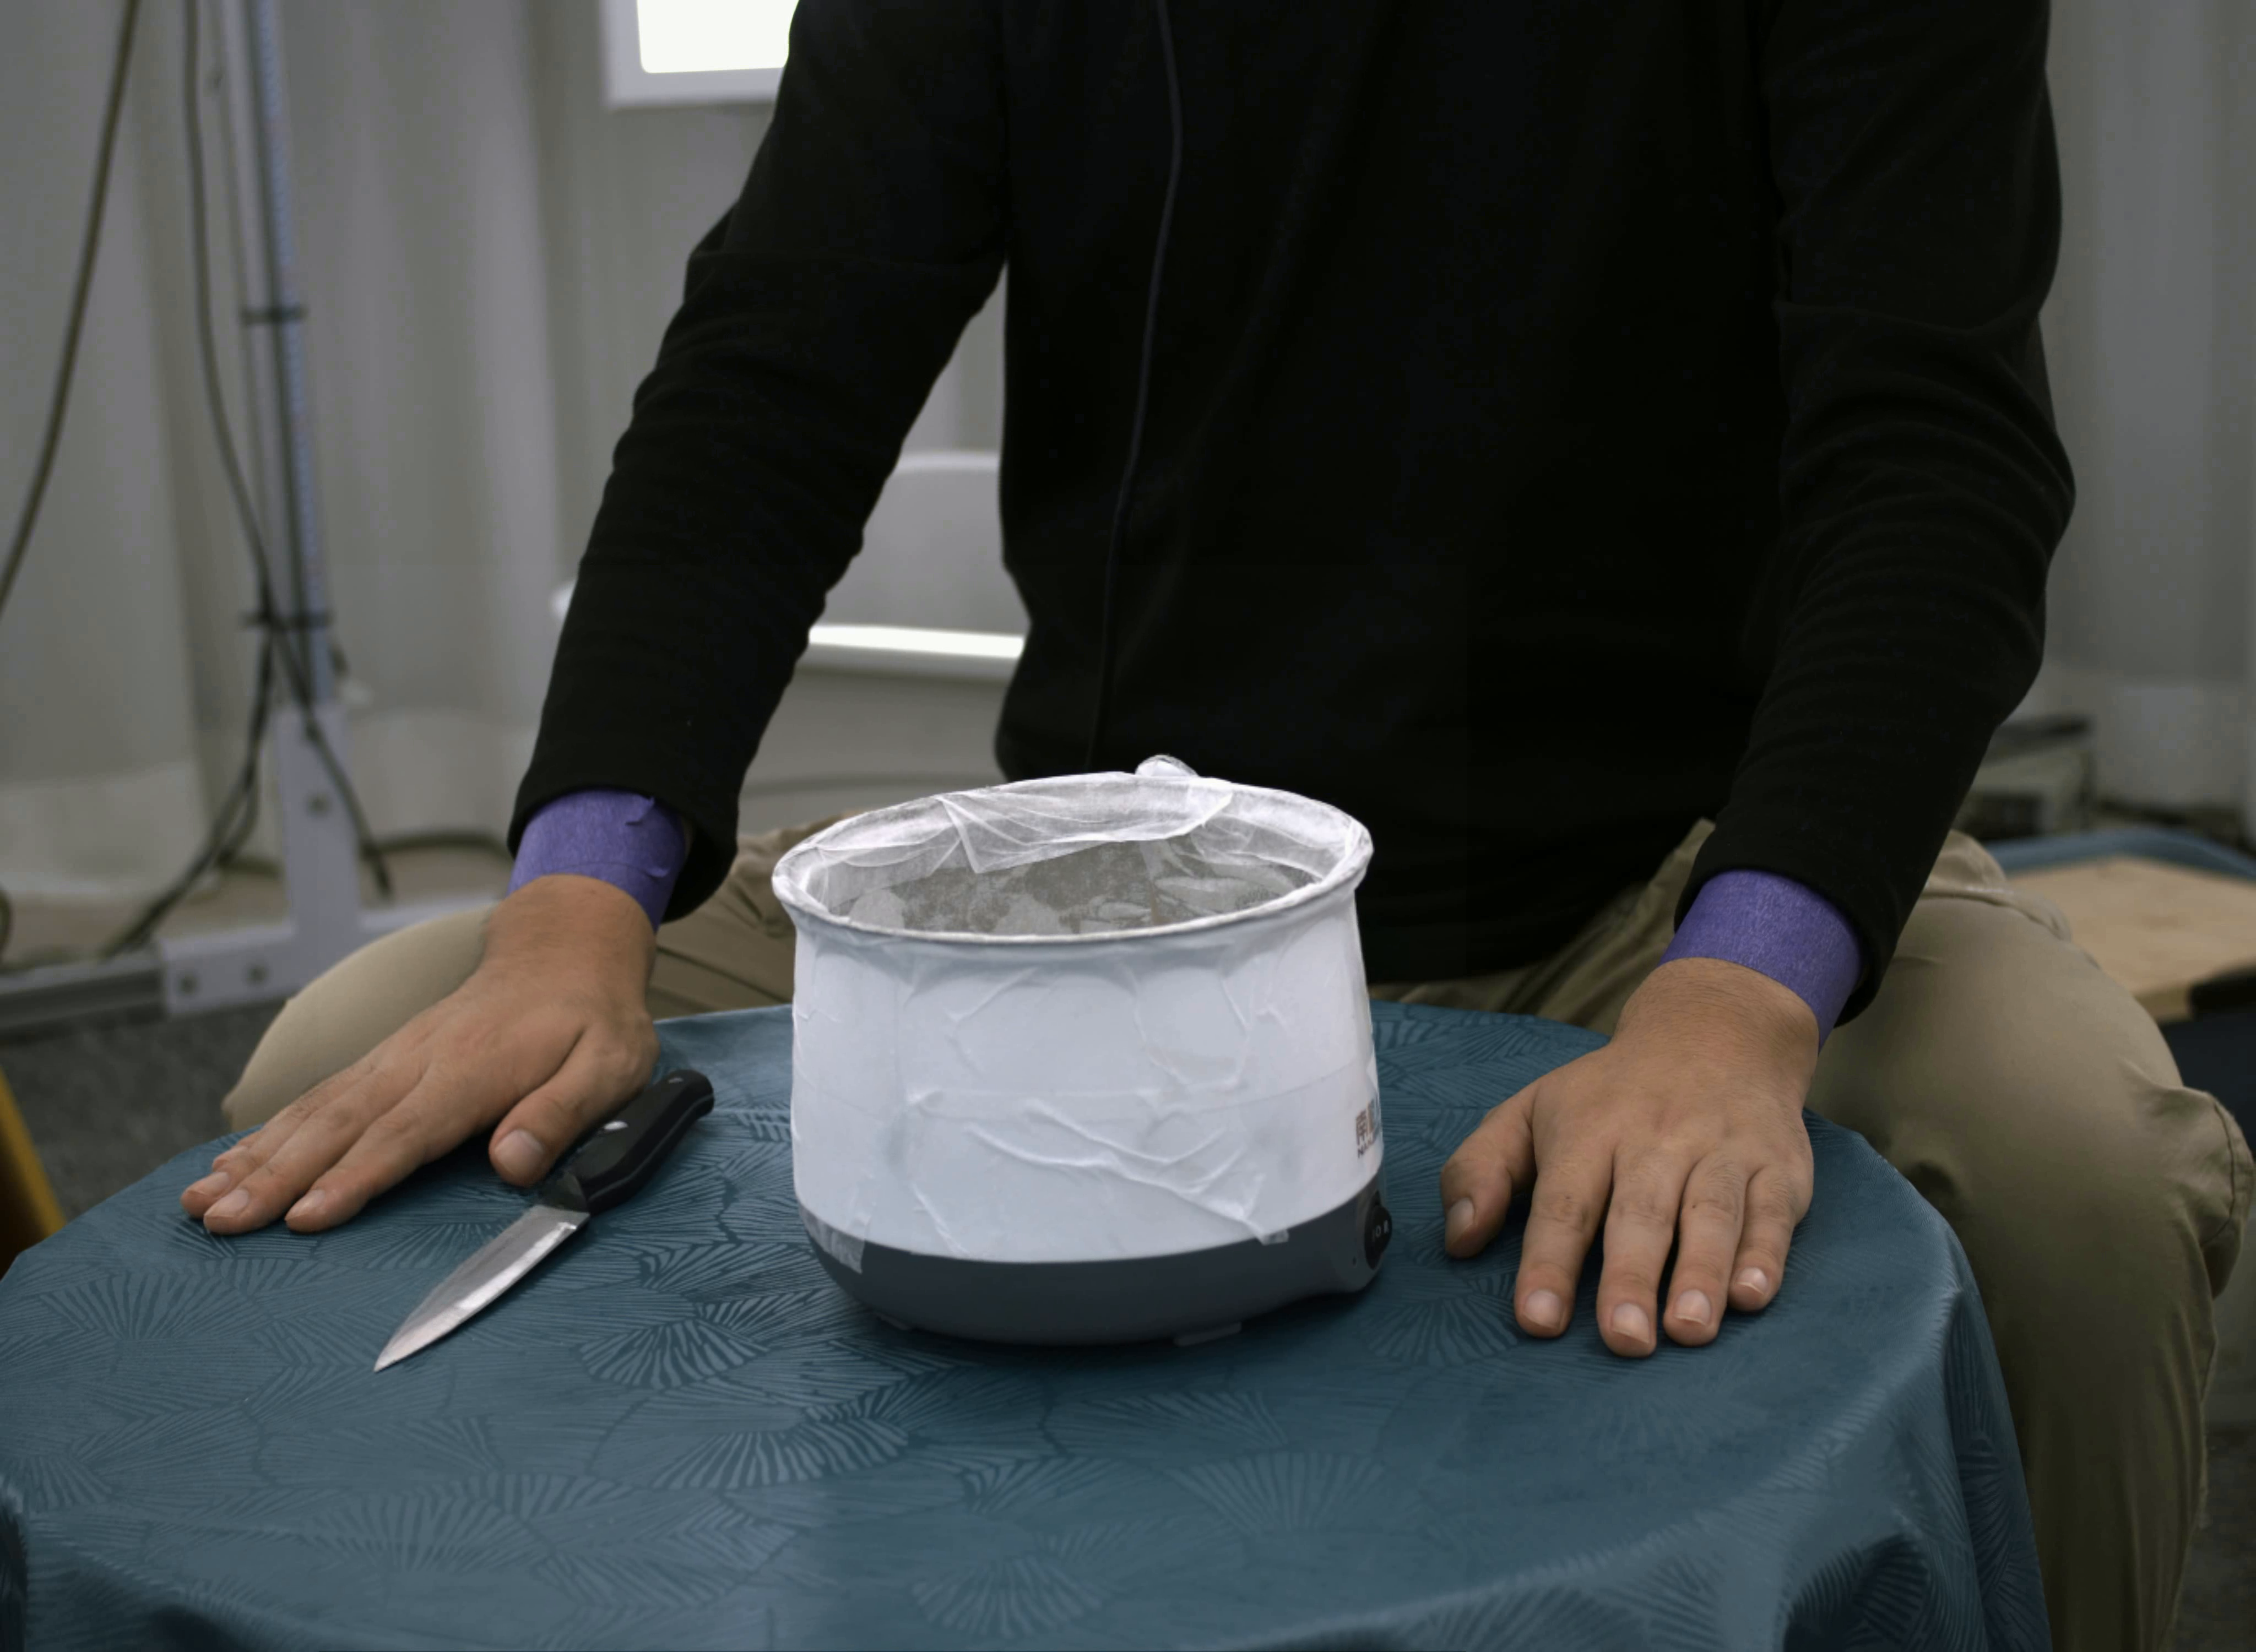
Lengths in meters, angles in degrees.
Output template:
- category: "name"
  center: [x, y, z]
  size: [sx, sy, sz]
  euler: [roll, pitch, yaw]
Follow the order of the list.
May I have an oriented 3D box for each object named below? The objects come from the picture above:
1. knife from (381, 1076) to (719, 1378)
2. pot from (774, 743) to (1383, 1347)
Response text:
- category: "knife"
  center: [-0.181, 0.123, 1.695]
  size: [0.024, 0.016, 0.239]
  euler: [5, 19, 18]
- category: "pot"
  center: [-0.007, 0.060, 1.648]
  size: [0.178, 0.136, 0.235]
  euler: [2, 16, 15]
